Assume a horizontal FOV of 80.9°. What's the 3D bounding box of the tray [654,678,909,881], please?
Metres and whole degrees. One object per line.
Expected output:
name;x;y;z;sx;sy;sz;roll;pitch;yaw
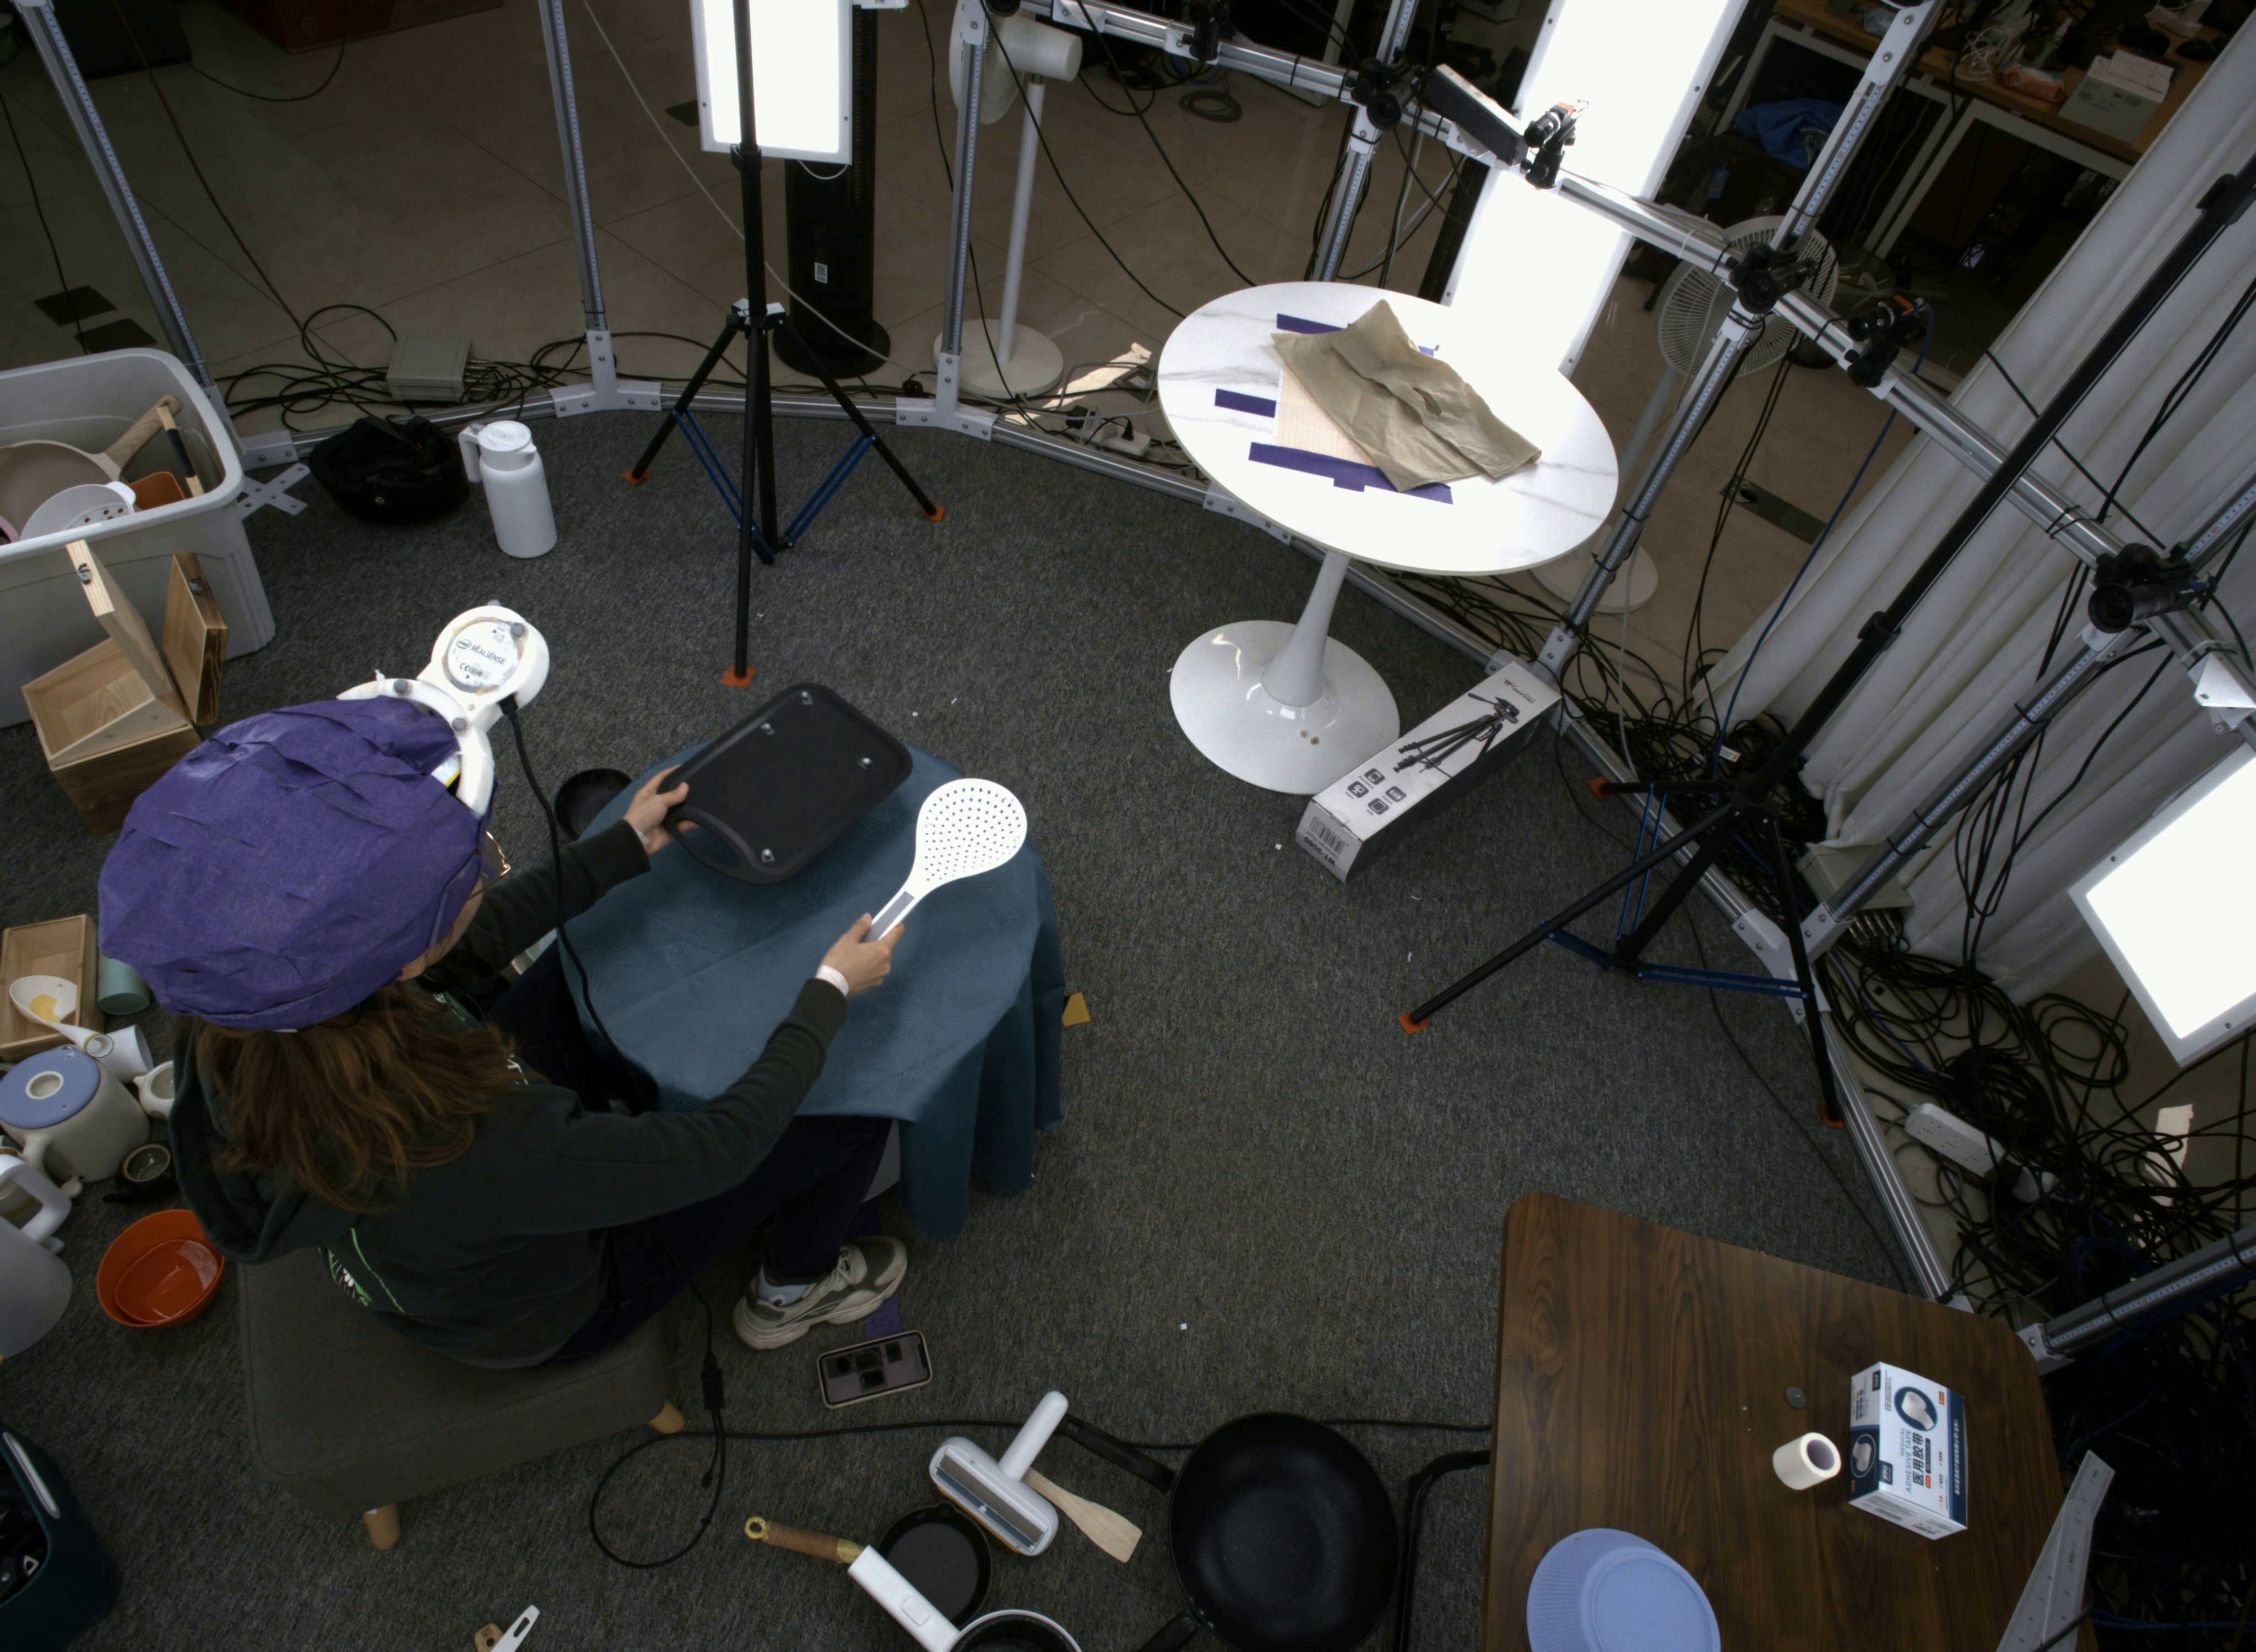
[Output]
tray;-0.442;-0.063;1.654;0.209;0.010;0.325;37;50;6

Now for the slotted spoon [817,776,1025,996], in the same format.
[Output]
slotted spoon;-0.257;0.071;1.596;0.133;0.046;0.349;33;56;11
